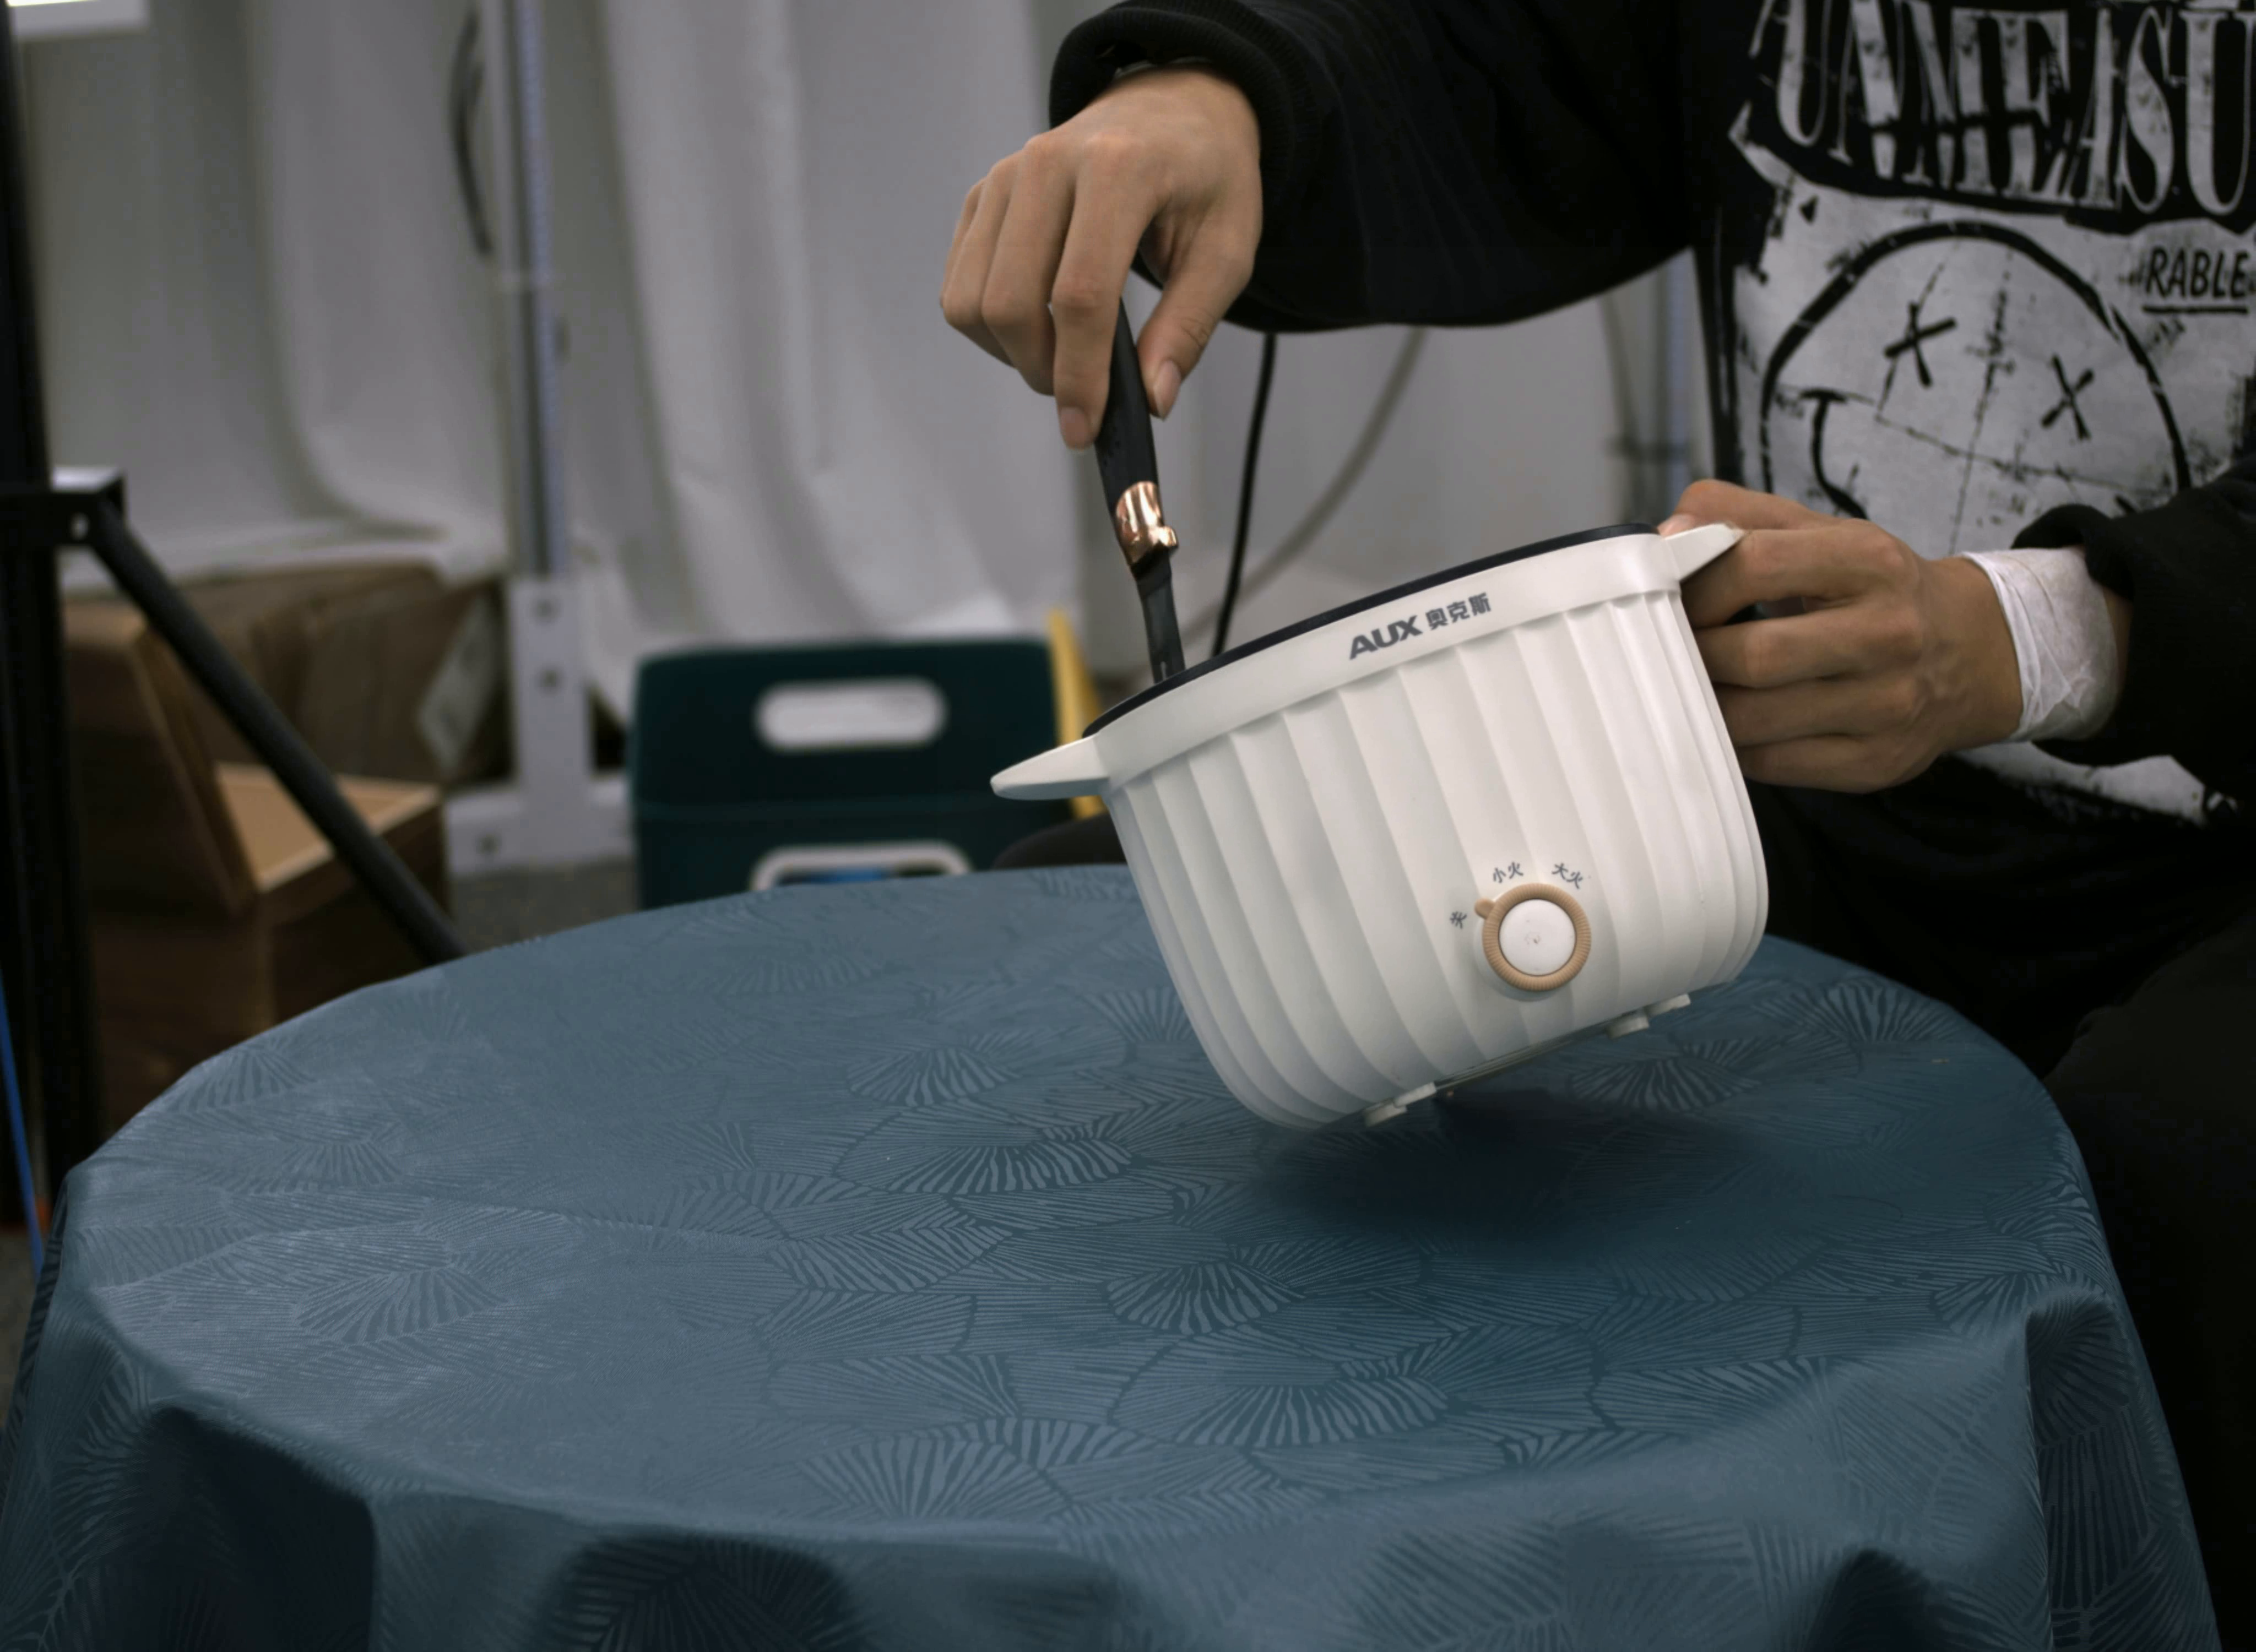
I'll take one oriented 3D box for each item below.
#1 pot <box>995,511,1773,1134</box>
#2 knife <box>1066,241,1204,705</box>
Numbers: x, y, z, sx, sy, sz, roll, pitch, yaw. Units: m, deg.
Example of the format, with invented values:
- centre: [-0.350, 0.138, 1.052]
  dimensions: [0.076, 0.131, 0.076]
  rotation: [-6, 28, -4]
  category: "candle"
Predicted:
- centre: [0.096, 0.005, 1.545]
  dimensions: [0.238, 0.144, 0.190]
  rotation: [-20, -9, -5]
  category: "pot"
- centre: [0.010, -0.075, 1.586]
  dimensions: [0.026, 0.228, 0.017]
  rotation: [-29, -26, 38]
  category: "knife"
